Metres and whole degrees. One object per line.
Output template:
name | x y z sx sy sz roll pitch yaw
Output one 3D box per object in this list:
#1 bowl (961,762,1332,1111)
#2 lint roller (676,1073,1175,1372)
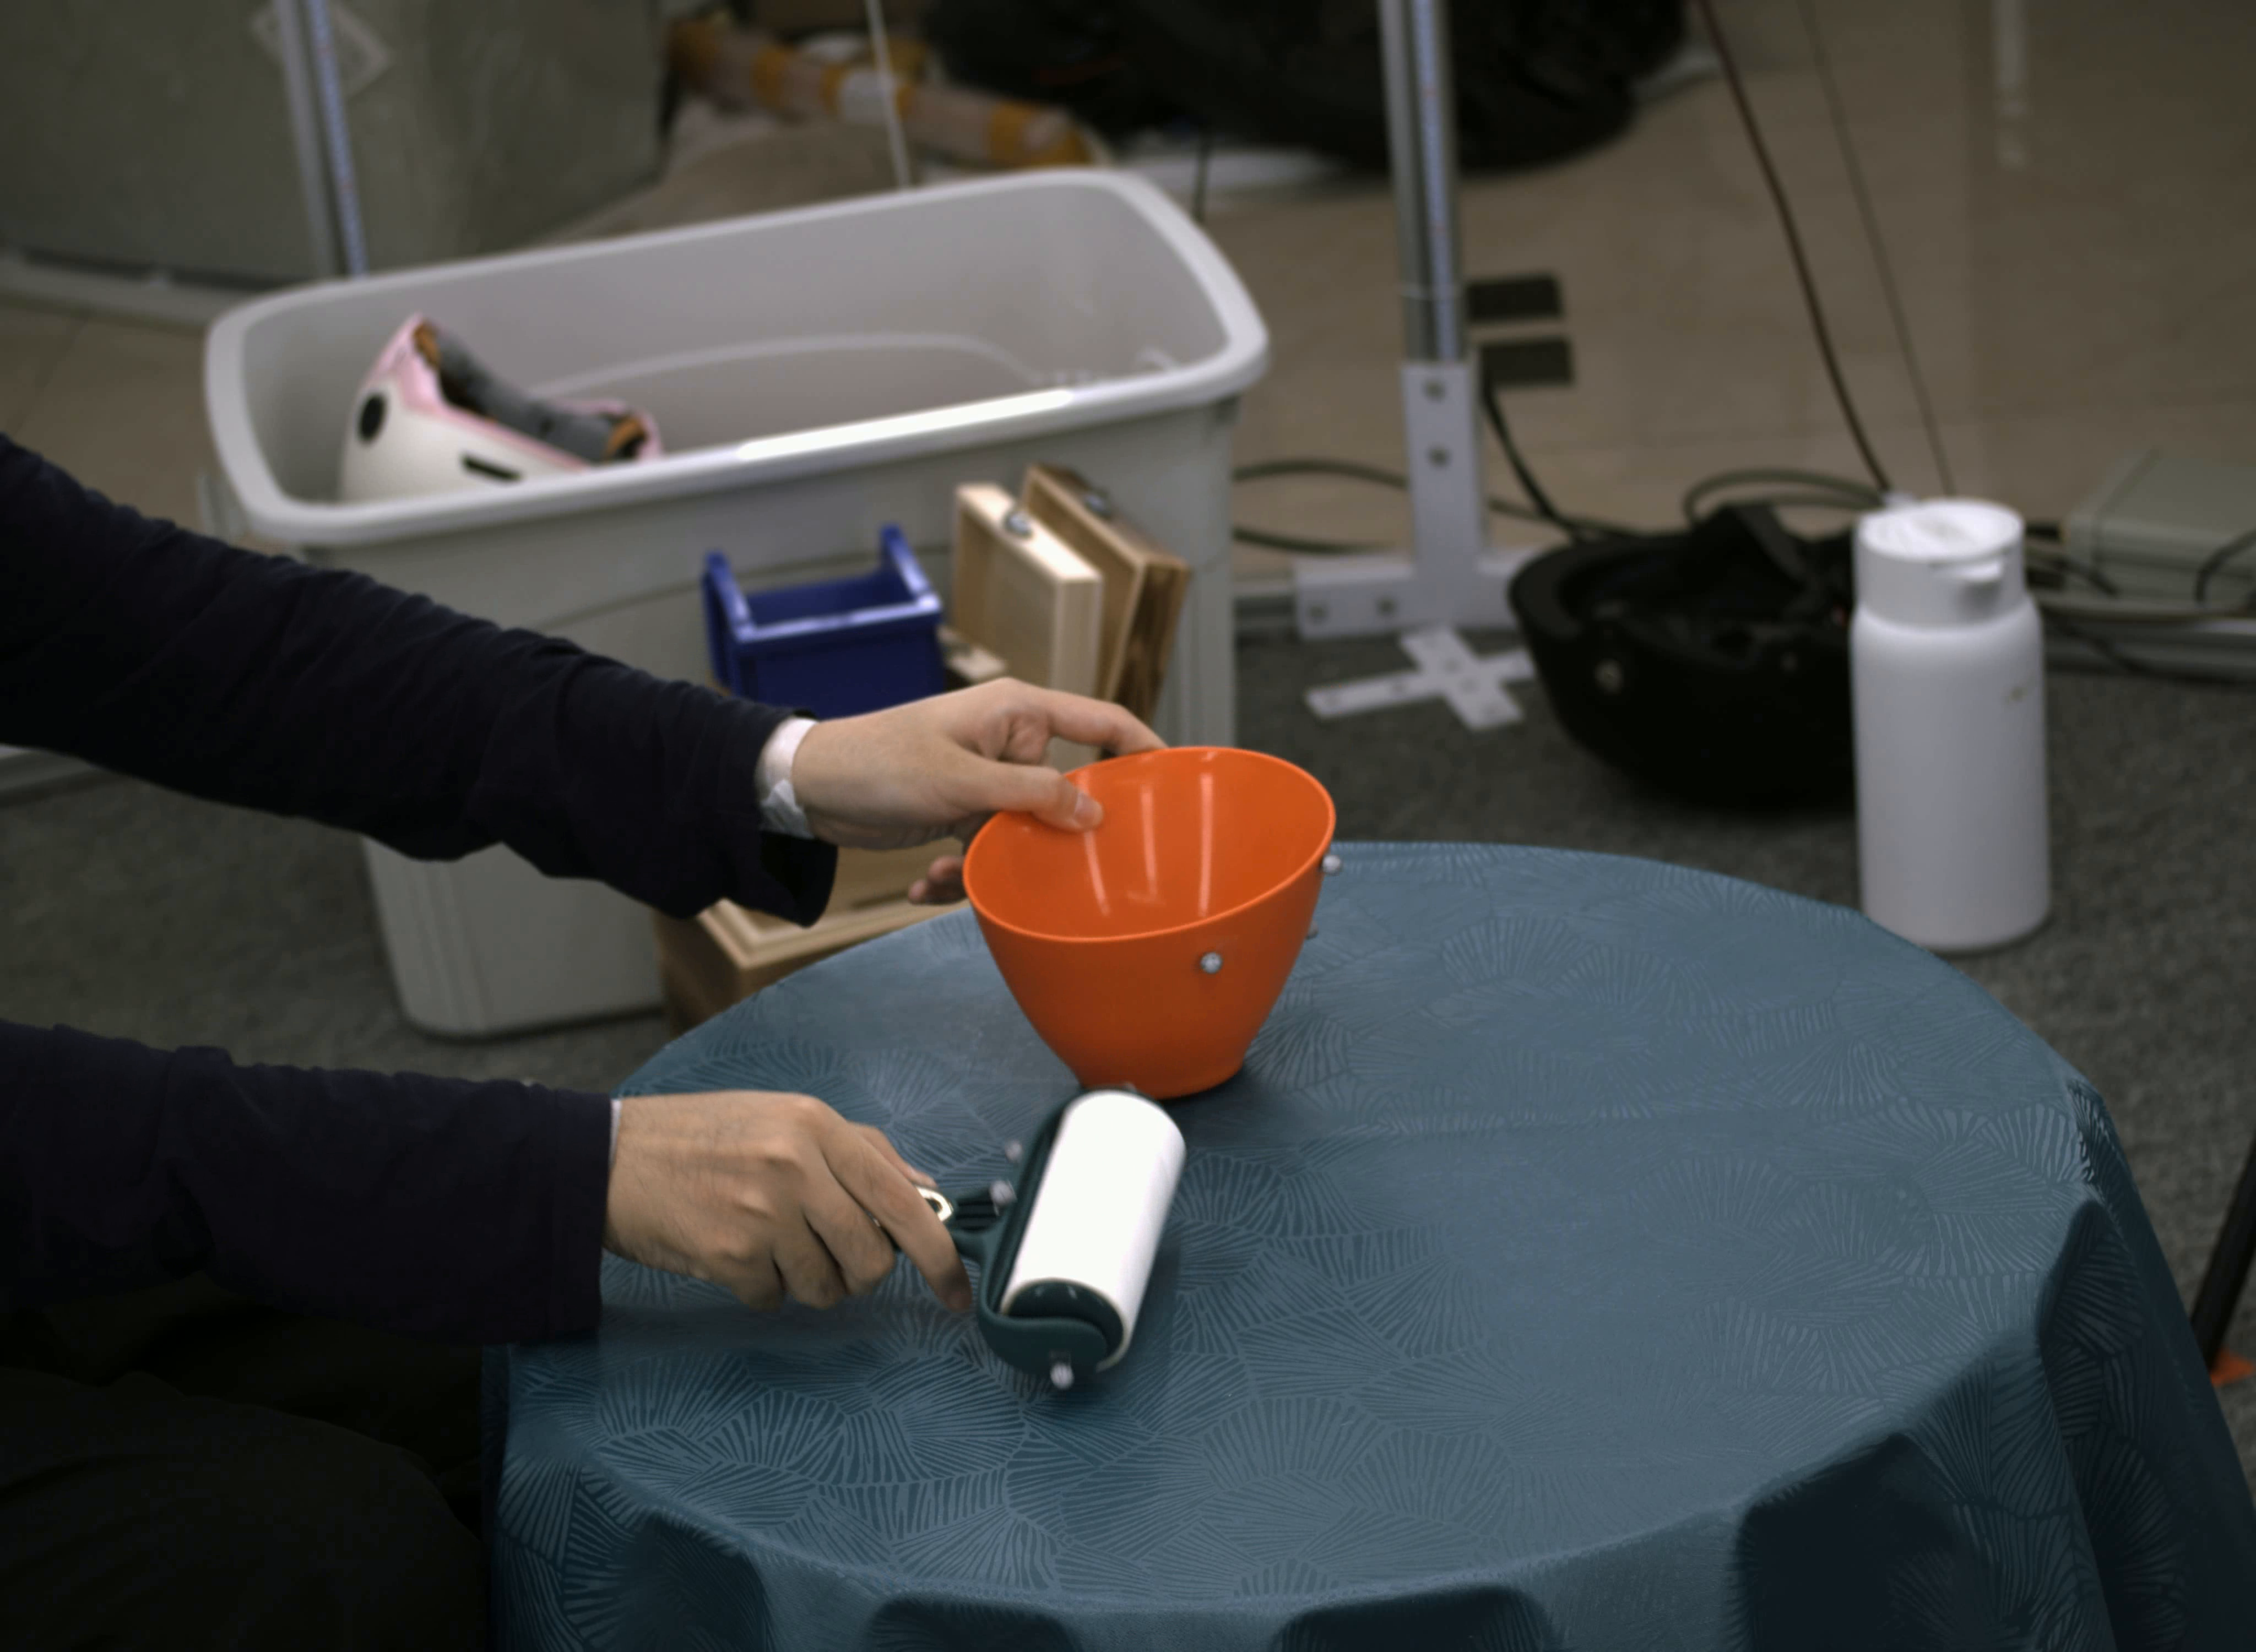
bowl | 0.012 0.049 2.228 0.148 0.106 0.146 -7 20 2
lint roller | -0.079 0.138 2.068 0.179 0.049 0.132 5 41 10
